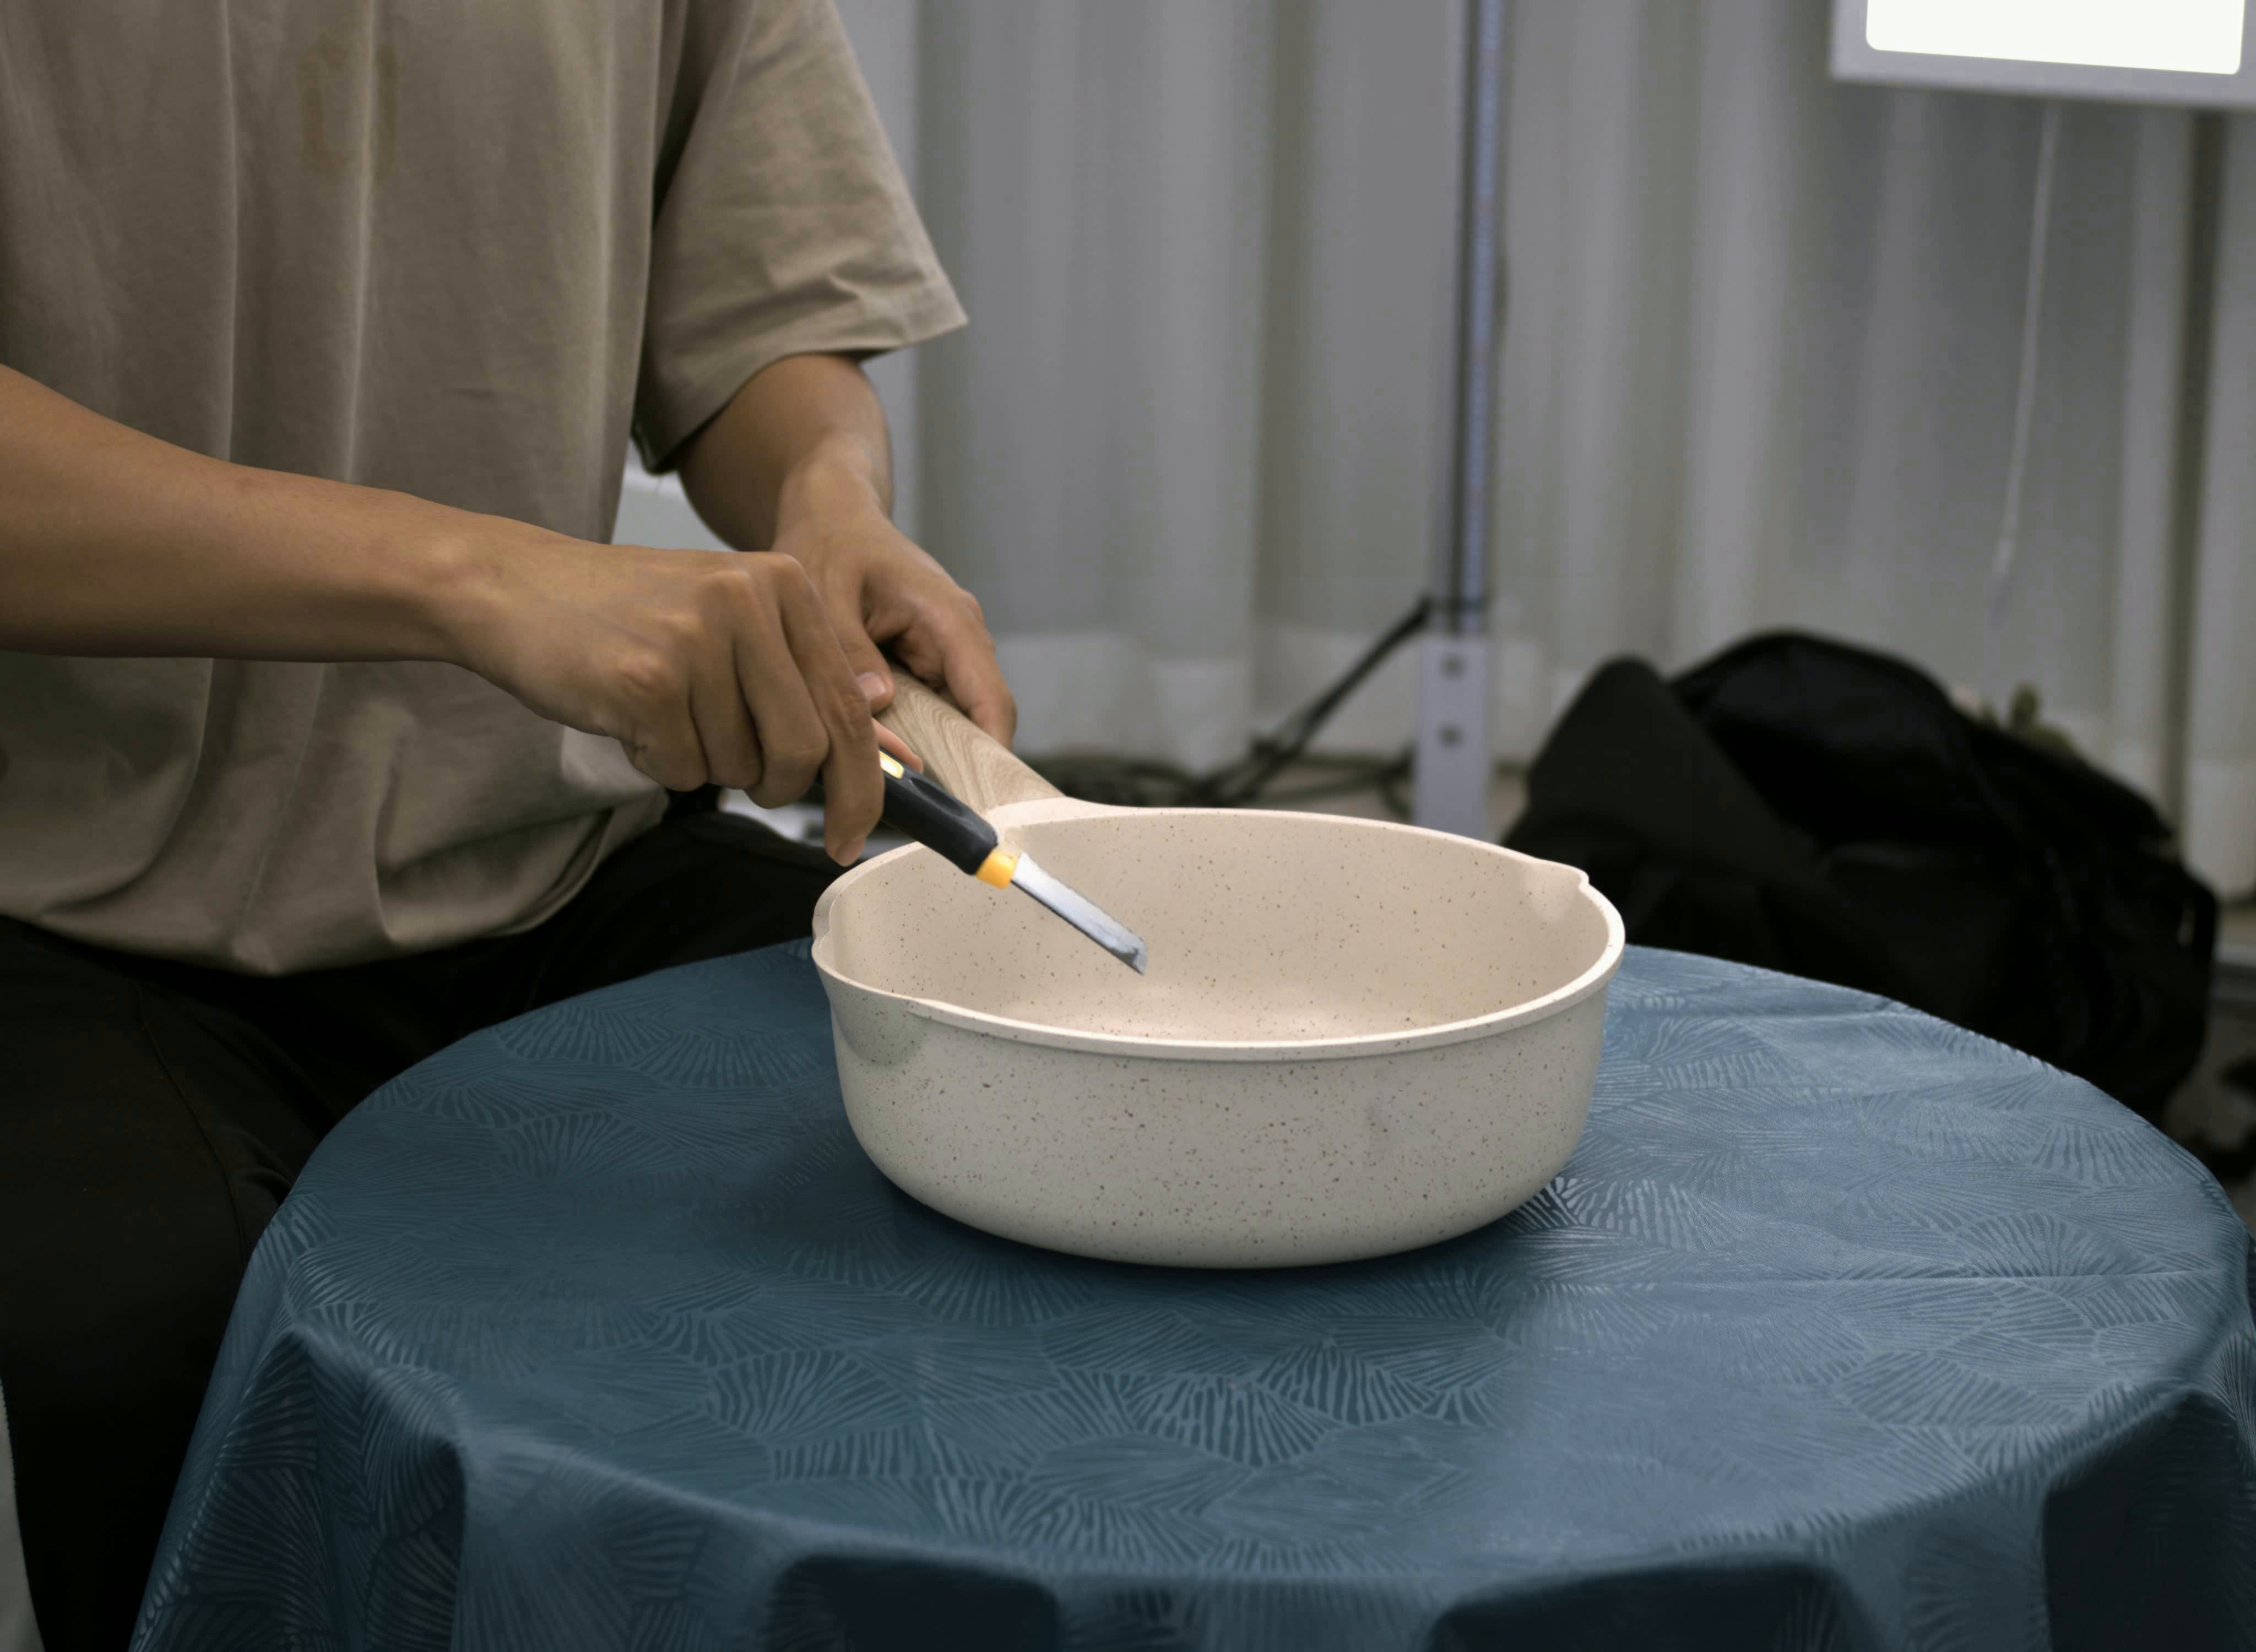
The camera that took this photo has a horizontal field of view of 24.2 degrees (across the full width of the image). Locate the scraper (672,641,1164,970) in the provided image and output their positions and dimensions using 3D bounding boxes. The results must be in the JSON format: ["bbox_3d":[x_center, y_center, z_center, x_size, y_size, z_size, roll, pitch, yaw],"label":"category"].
[{"bbox_3d":[-0.064,-0.007,1.599,0.171,0.015,0.038,31,28,-9],"label":"scraper"}]

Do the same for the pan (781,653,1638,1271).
[{"bbox_3d":[-0.009,0.038,1.714,0.264,0.103,0.429,-10,19,-26],"label":"pan"}]
